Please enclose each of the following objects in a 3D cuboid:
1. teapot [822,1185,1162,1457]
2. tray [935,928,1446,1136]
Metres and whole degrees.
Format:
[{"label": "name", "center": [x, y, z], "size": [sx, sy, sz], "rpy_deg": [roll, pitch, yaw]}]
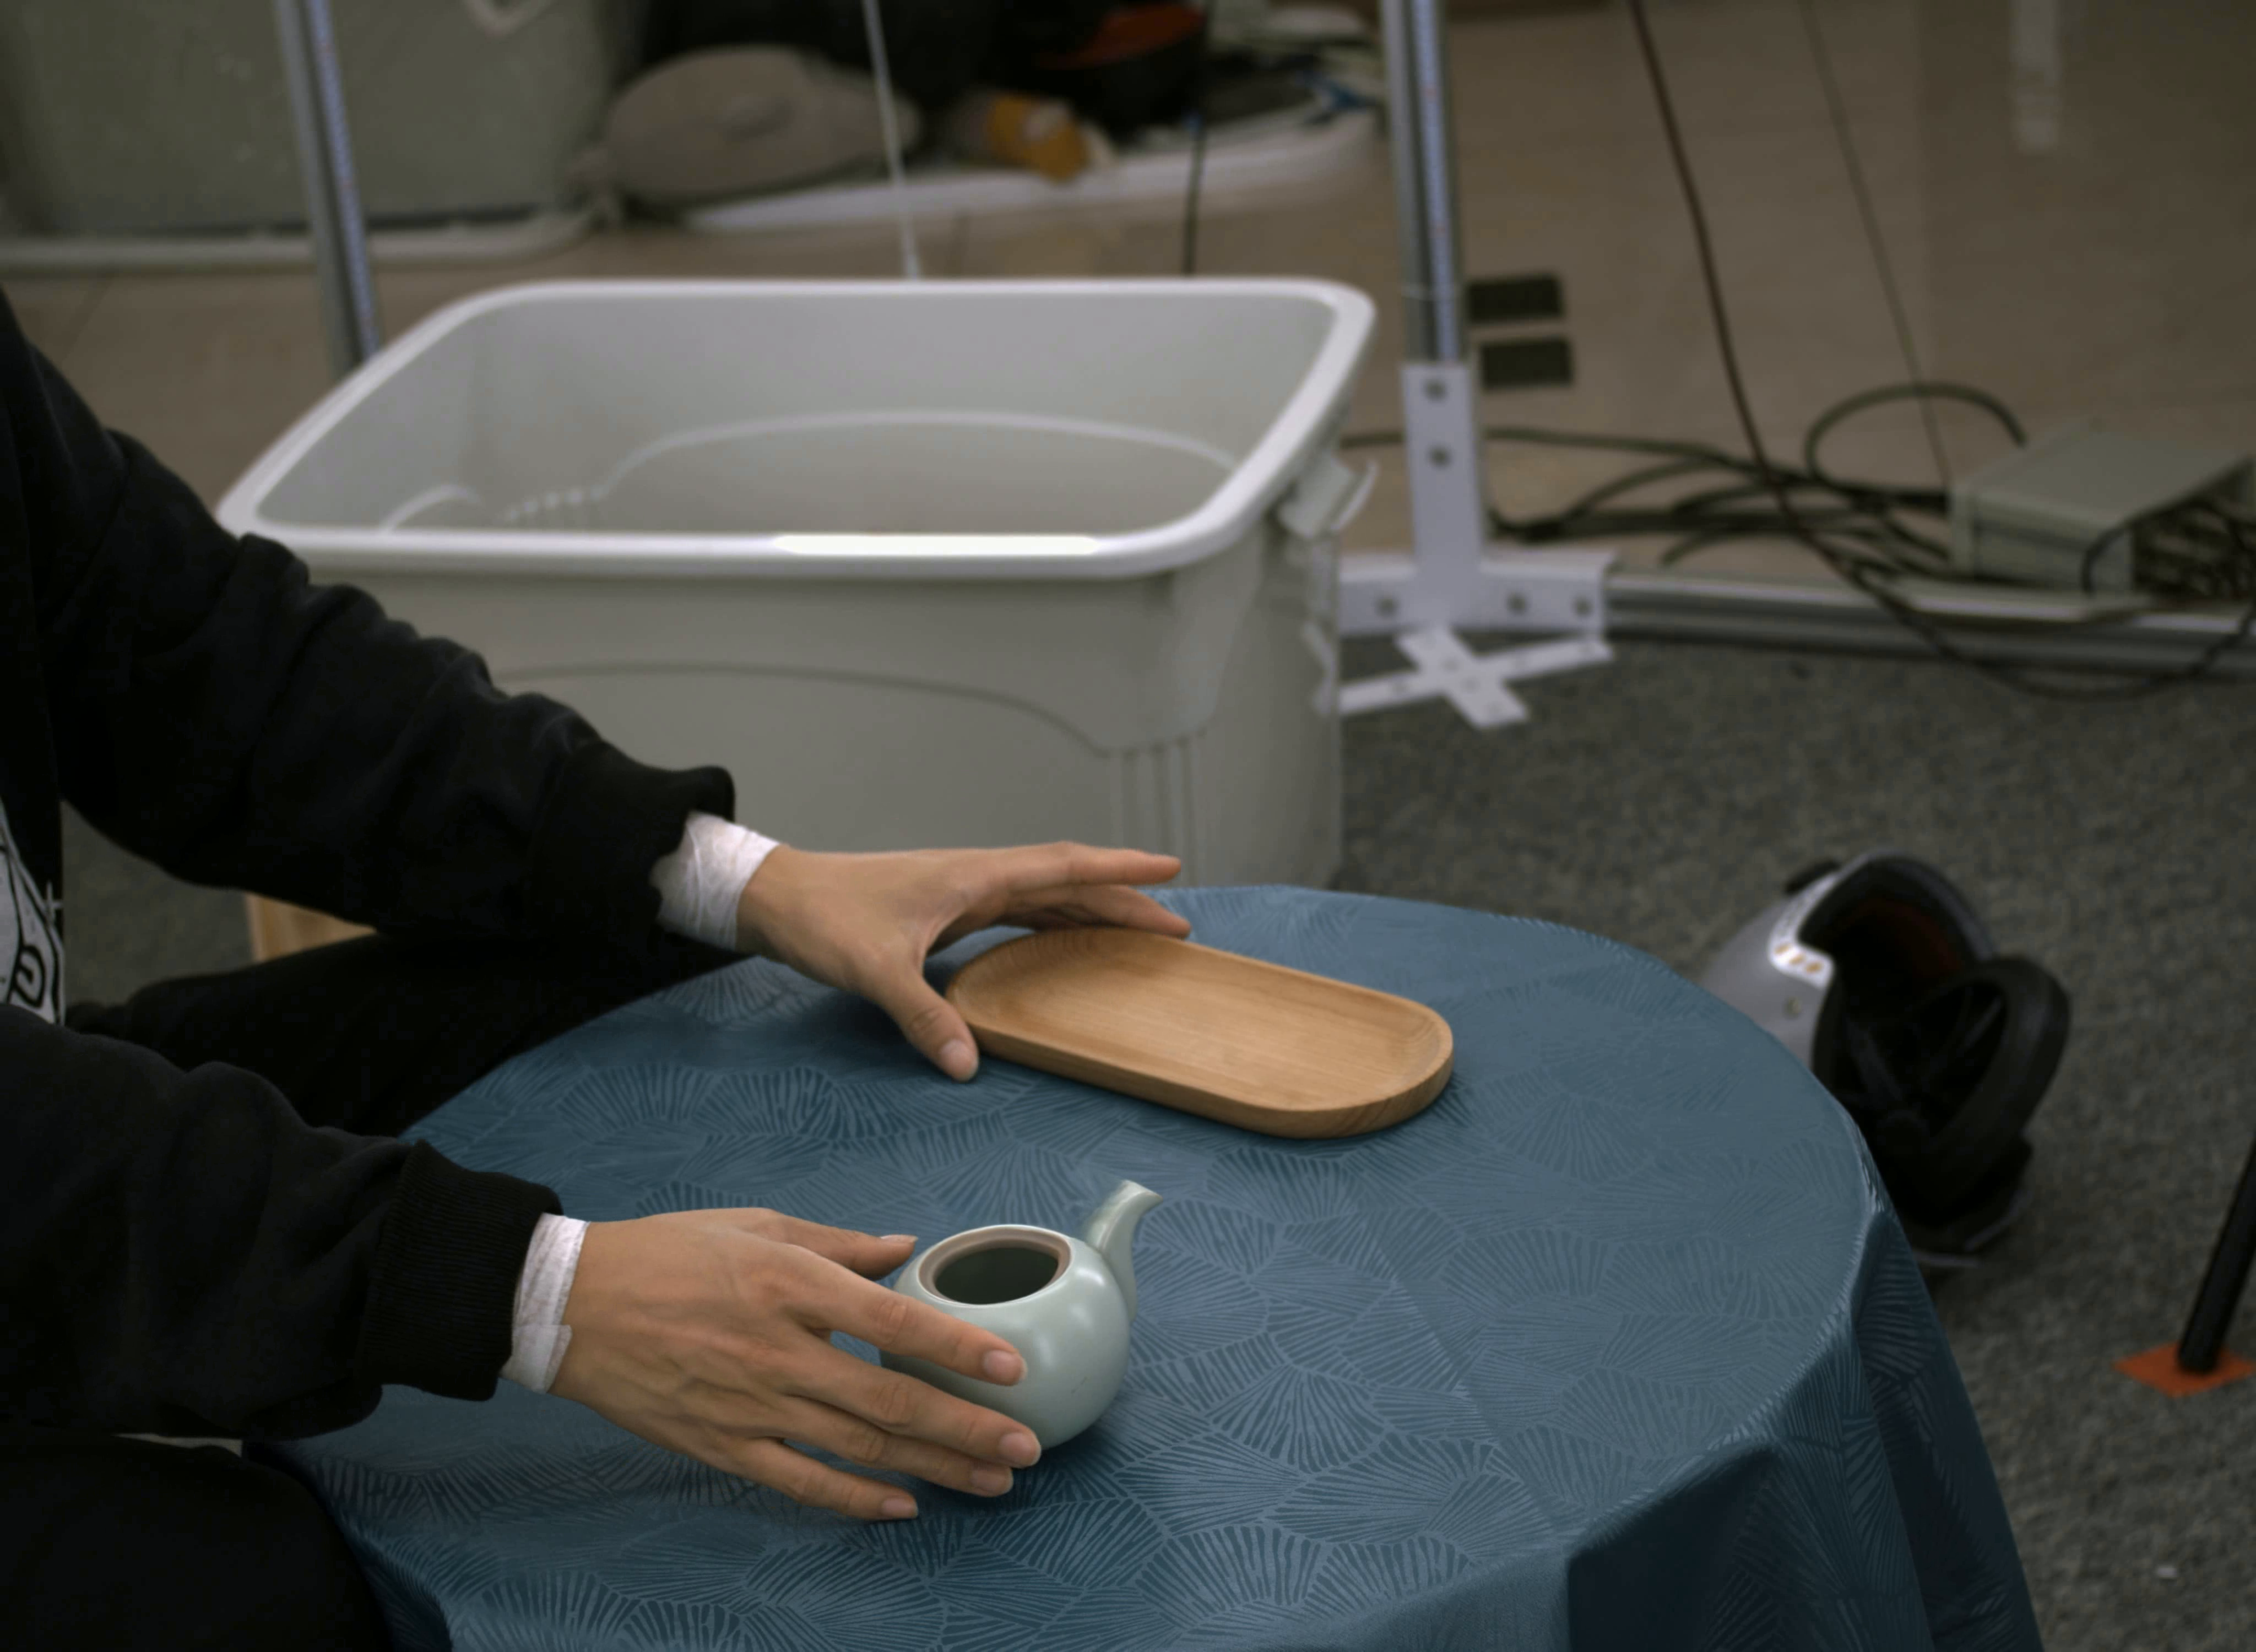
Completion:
[{"label": "teapot", "center": [-0.044, 0.179, 1.988], "size": [0.143, 0.076, 0.087], "rpy_deg": [-19, 28, -29]}, {"label": "tray", "center": [0.024, 0.081, 2.250], "size": [0.230, 0.020, 0.101], "rpy_deg": [12, 29, 38]}]
